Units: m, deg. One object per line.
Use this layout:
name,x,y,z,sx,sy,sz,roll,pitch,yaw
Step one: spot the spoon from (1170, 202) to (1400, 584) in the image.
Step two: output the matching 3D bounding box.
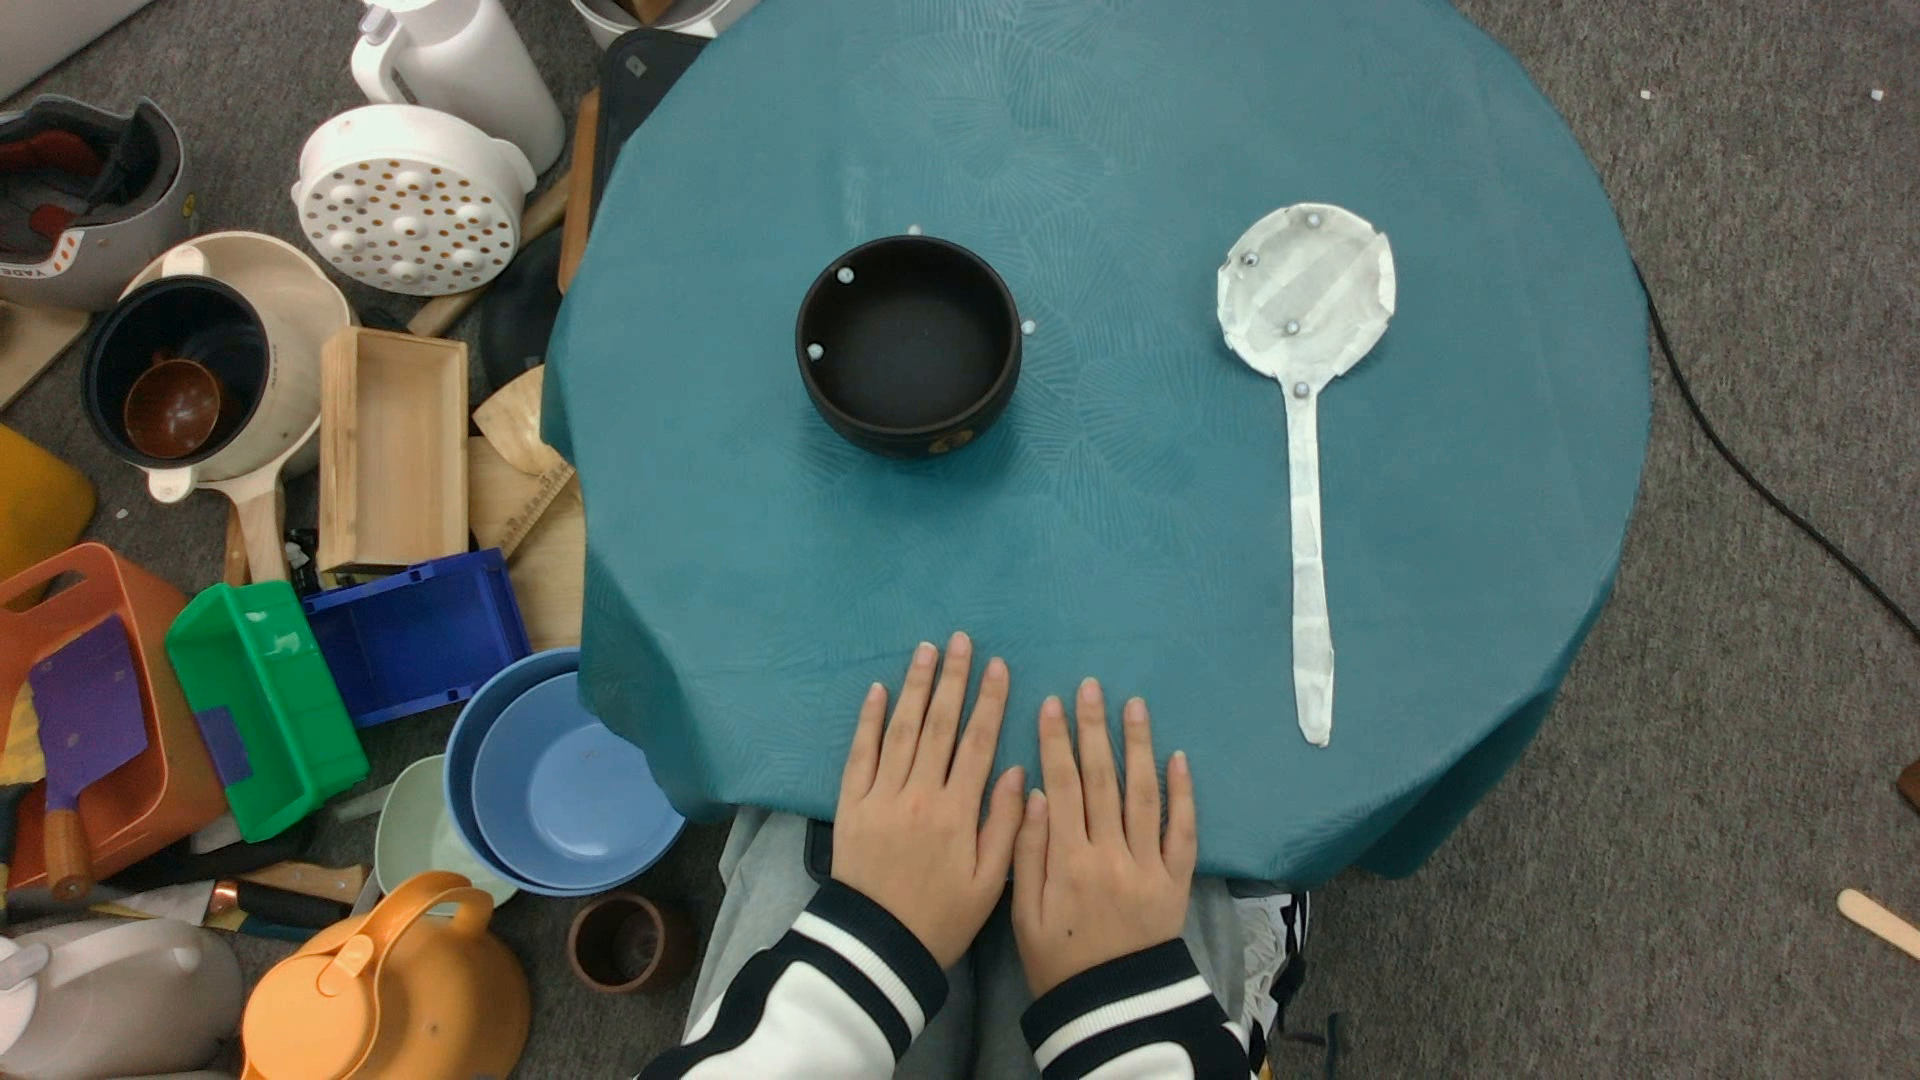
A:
spoon,0.211,-0.076,0.807,0.100,0.277,0.059,-25,42,15

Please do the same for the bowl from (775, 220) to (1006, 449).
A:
bowl,-0.035,-0.101,0.726,0.118,0.069,0.118,-1,72,2
